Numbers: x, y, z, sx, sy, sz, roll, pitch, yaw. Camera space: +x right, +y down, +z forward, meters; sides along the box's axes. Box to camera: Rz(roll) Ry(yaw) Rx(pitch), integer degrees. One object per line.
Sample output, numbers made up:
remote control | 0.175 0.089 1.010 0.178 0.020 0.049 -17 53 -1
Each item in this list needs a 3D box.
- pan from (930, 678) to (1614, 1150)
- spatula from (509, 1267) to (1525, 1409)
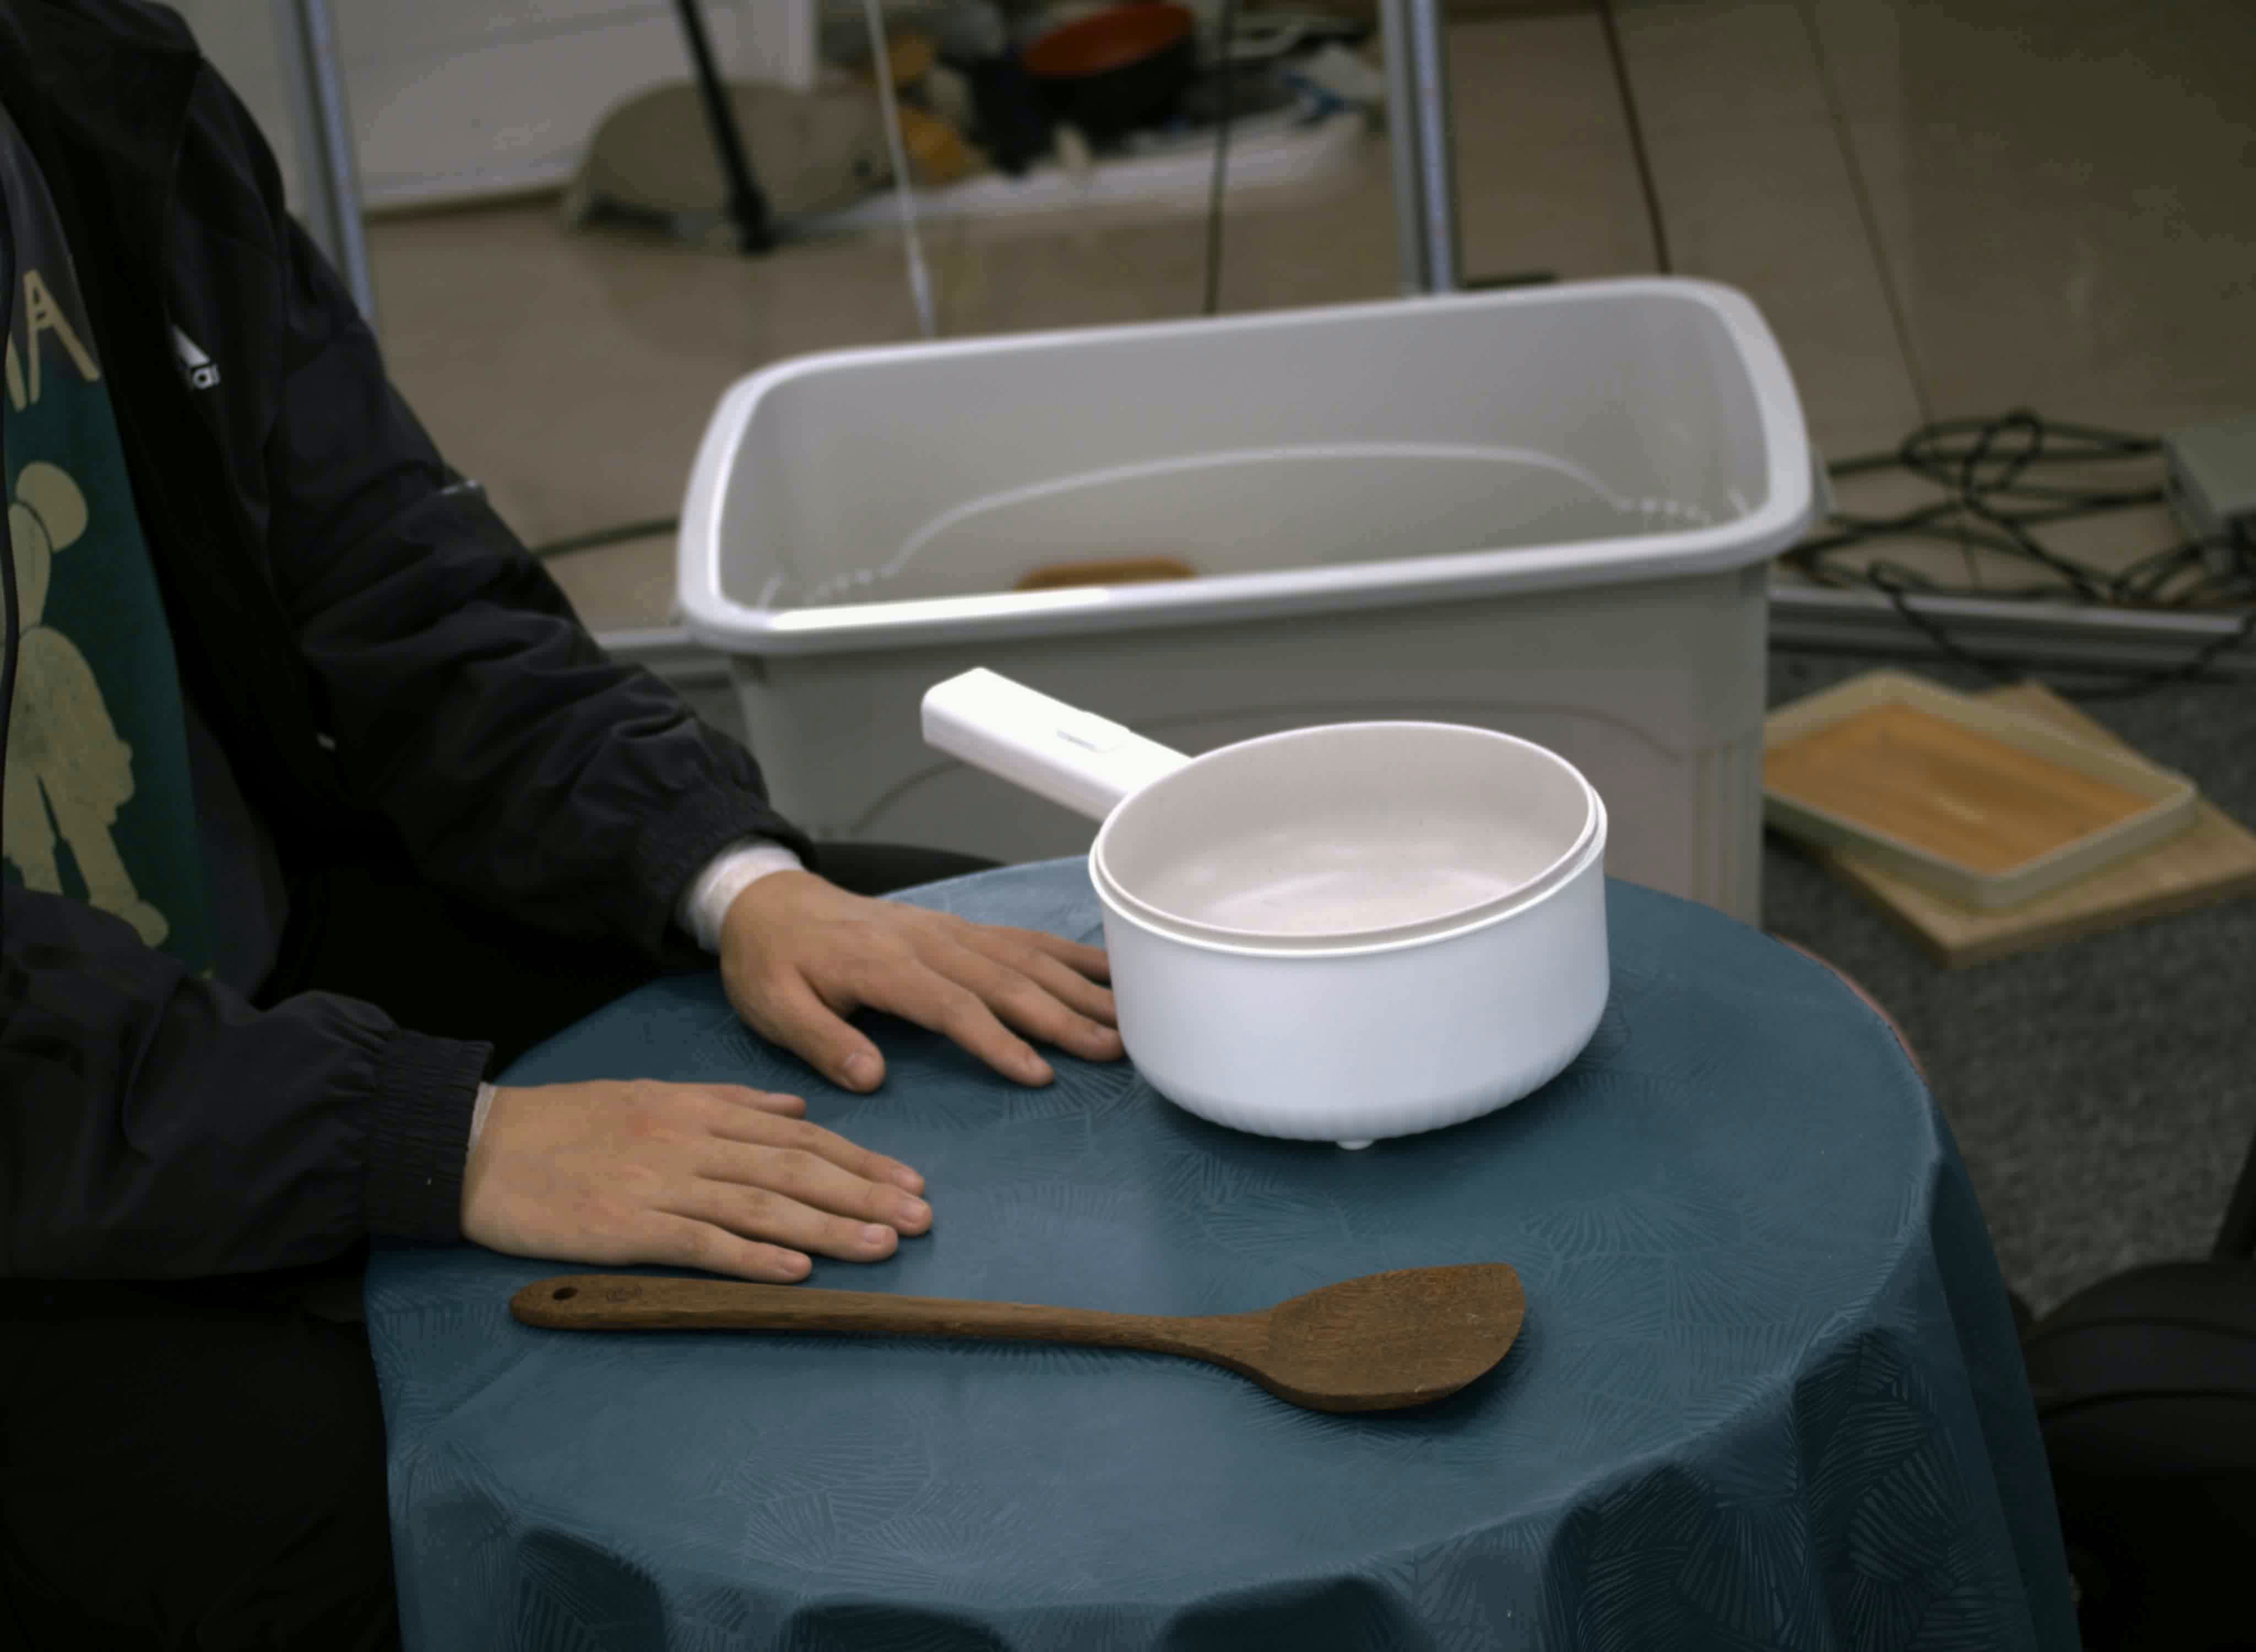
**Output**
pan | 0.043 0.027 2.263 0.200 0.103 0.352 -25 29 -32
spatula | -0.046 0.179 2.055 0.385 0.016 0.095 1 25 17
